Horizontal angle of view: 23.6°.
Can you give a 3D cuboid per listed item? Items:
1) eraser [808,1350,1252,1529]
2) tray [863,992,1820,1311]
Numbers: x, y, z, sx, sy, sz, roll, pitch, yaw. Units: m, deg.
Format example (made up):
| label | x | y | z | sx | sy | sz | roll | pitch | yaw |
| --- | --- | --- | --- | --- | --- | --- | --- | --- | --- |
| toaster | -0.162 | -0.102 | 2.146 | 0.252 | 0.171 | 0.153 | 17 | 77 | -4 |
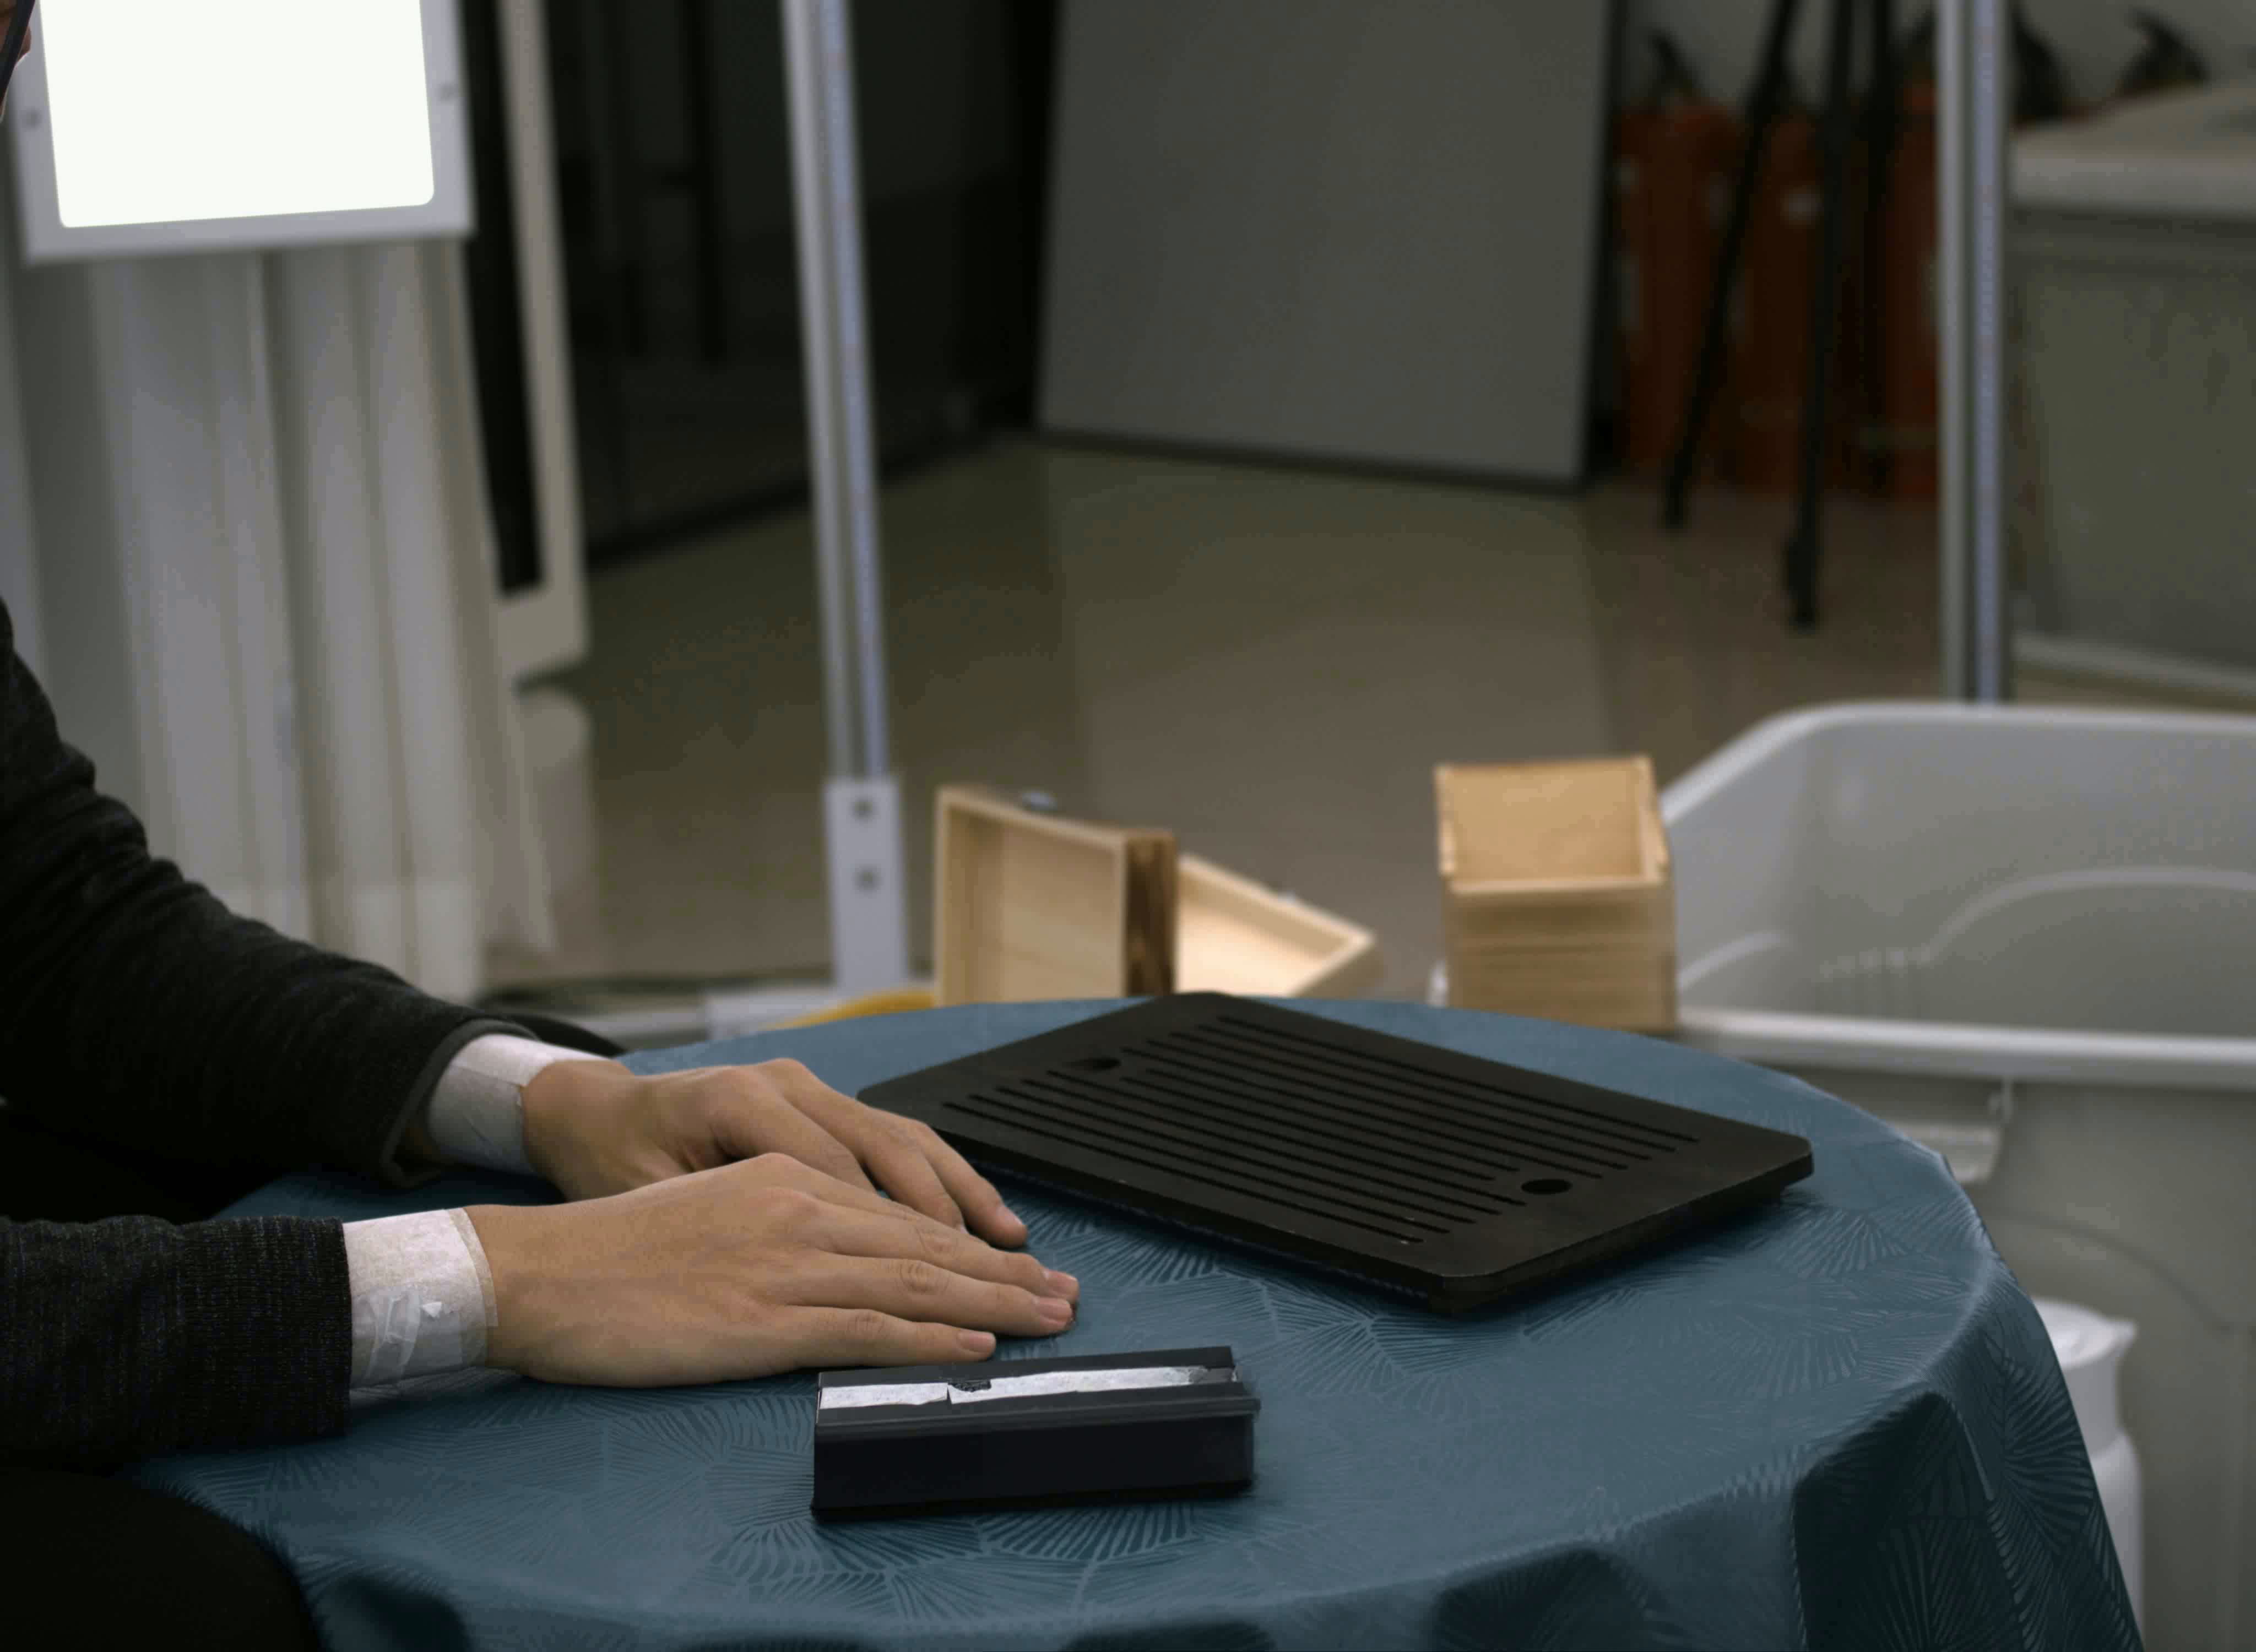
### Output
| label | x | y | z | sx | sy | sz | roll | pitch | yaw |
| --- | --- | --- | --- | --- | --- | --- | --- | --- | --- |
| eraser | -0.027 | 0.171 | 1.515 | 0.124 | 0.031 | 0.053 | -5 | 11 | 0 |
| tray | 0.066 | 0.104 | 1.780 | 0.166 | 0.019 | 0.309 | -16 | 18 | -38 |
